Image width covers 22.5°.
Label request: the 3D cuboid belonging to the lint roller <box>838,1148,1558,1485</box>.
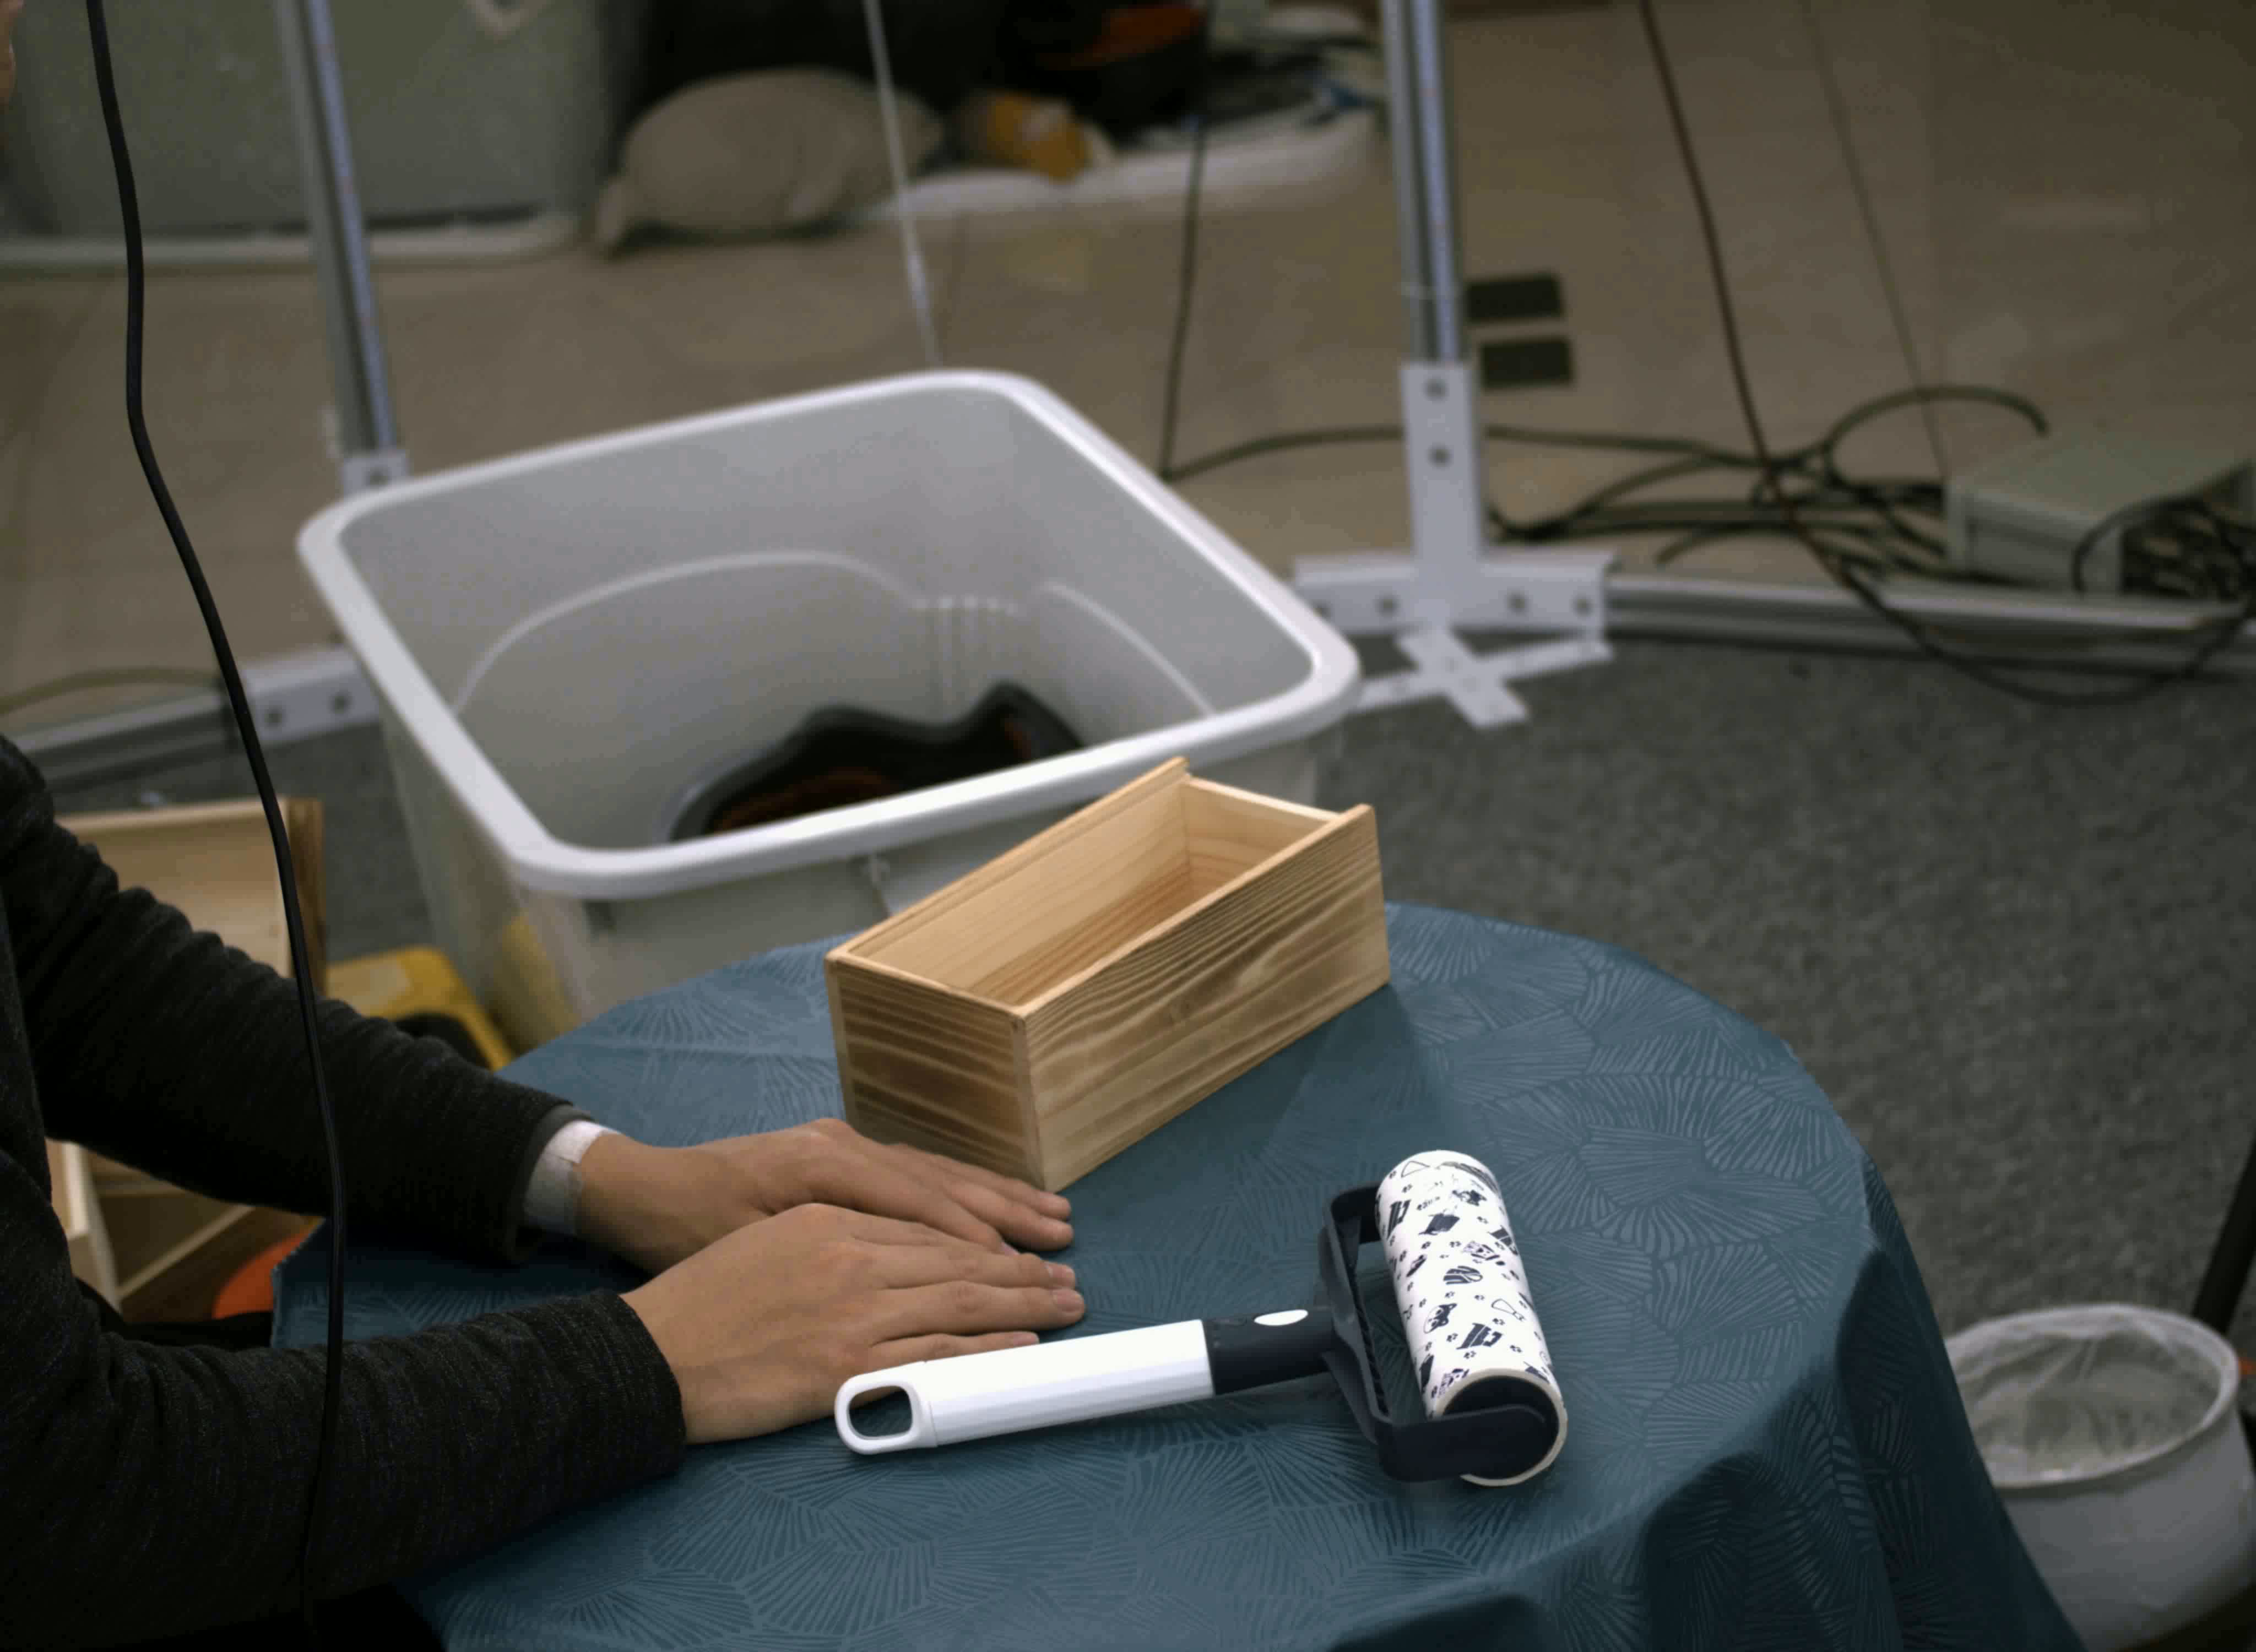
[{"bbox_3d":[0.019,0.187,1.989,0.246,0.051,0.173,-9,26,-1],"label":"lint roller"}]

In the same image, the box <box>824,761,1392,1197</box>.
[{"bbox_3d":[-0.005,0.057,2.230,0.107,0.081,0.209,15,33,39],"label":"box"}]
